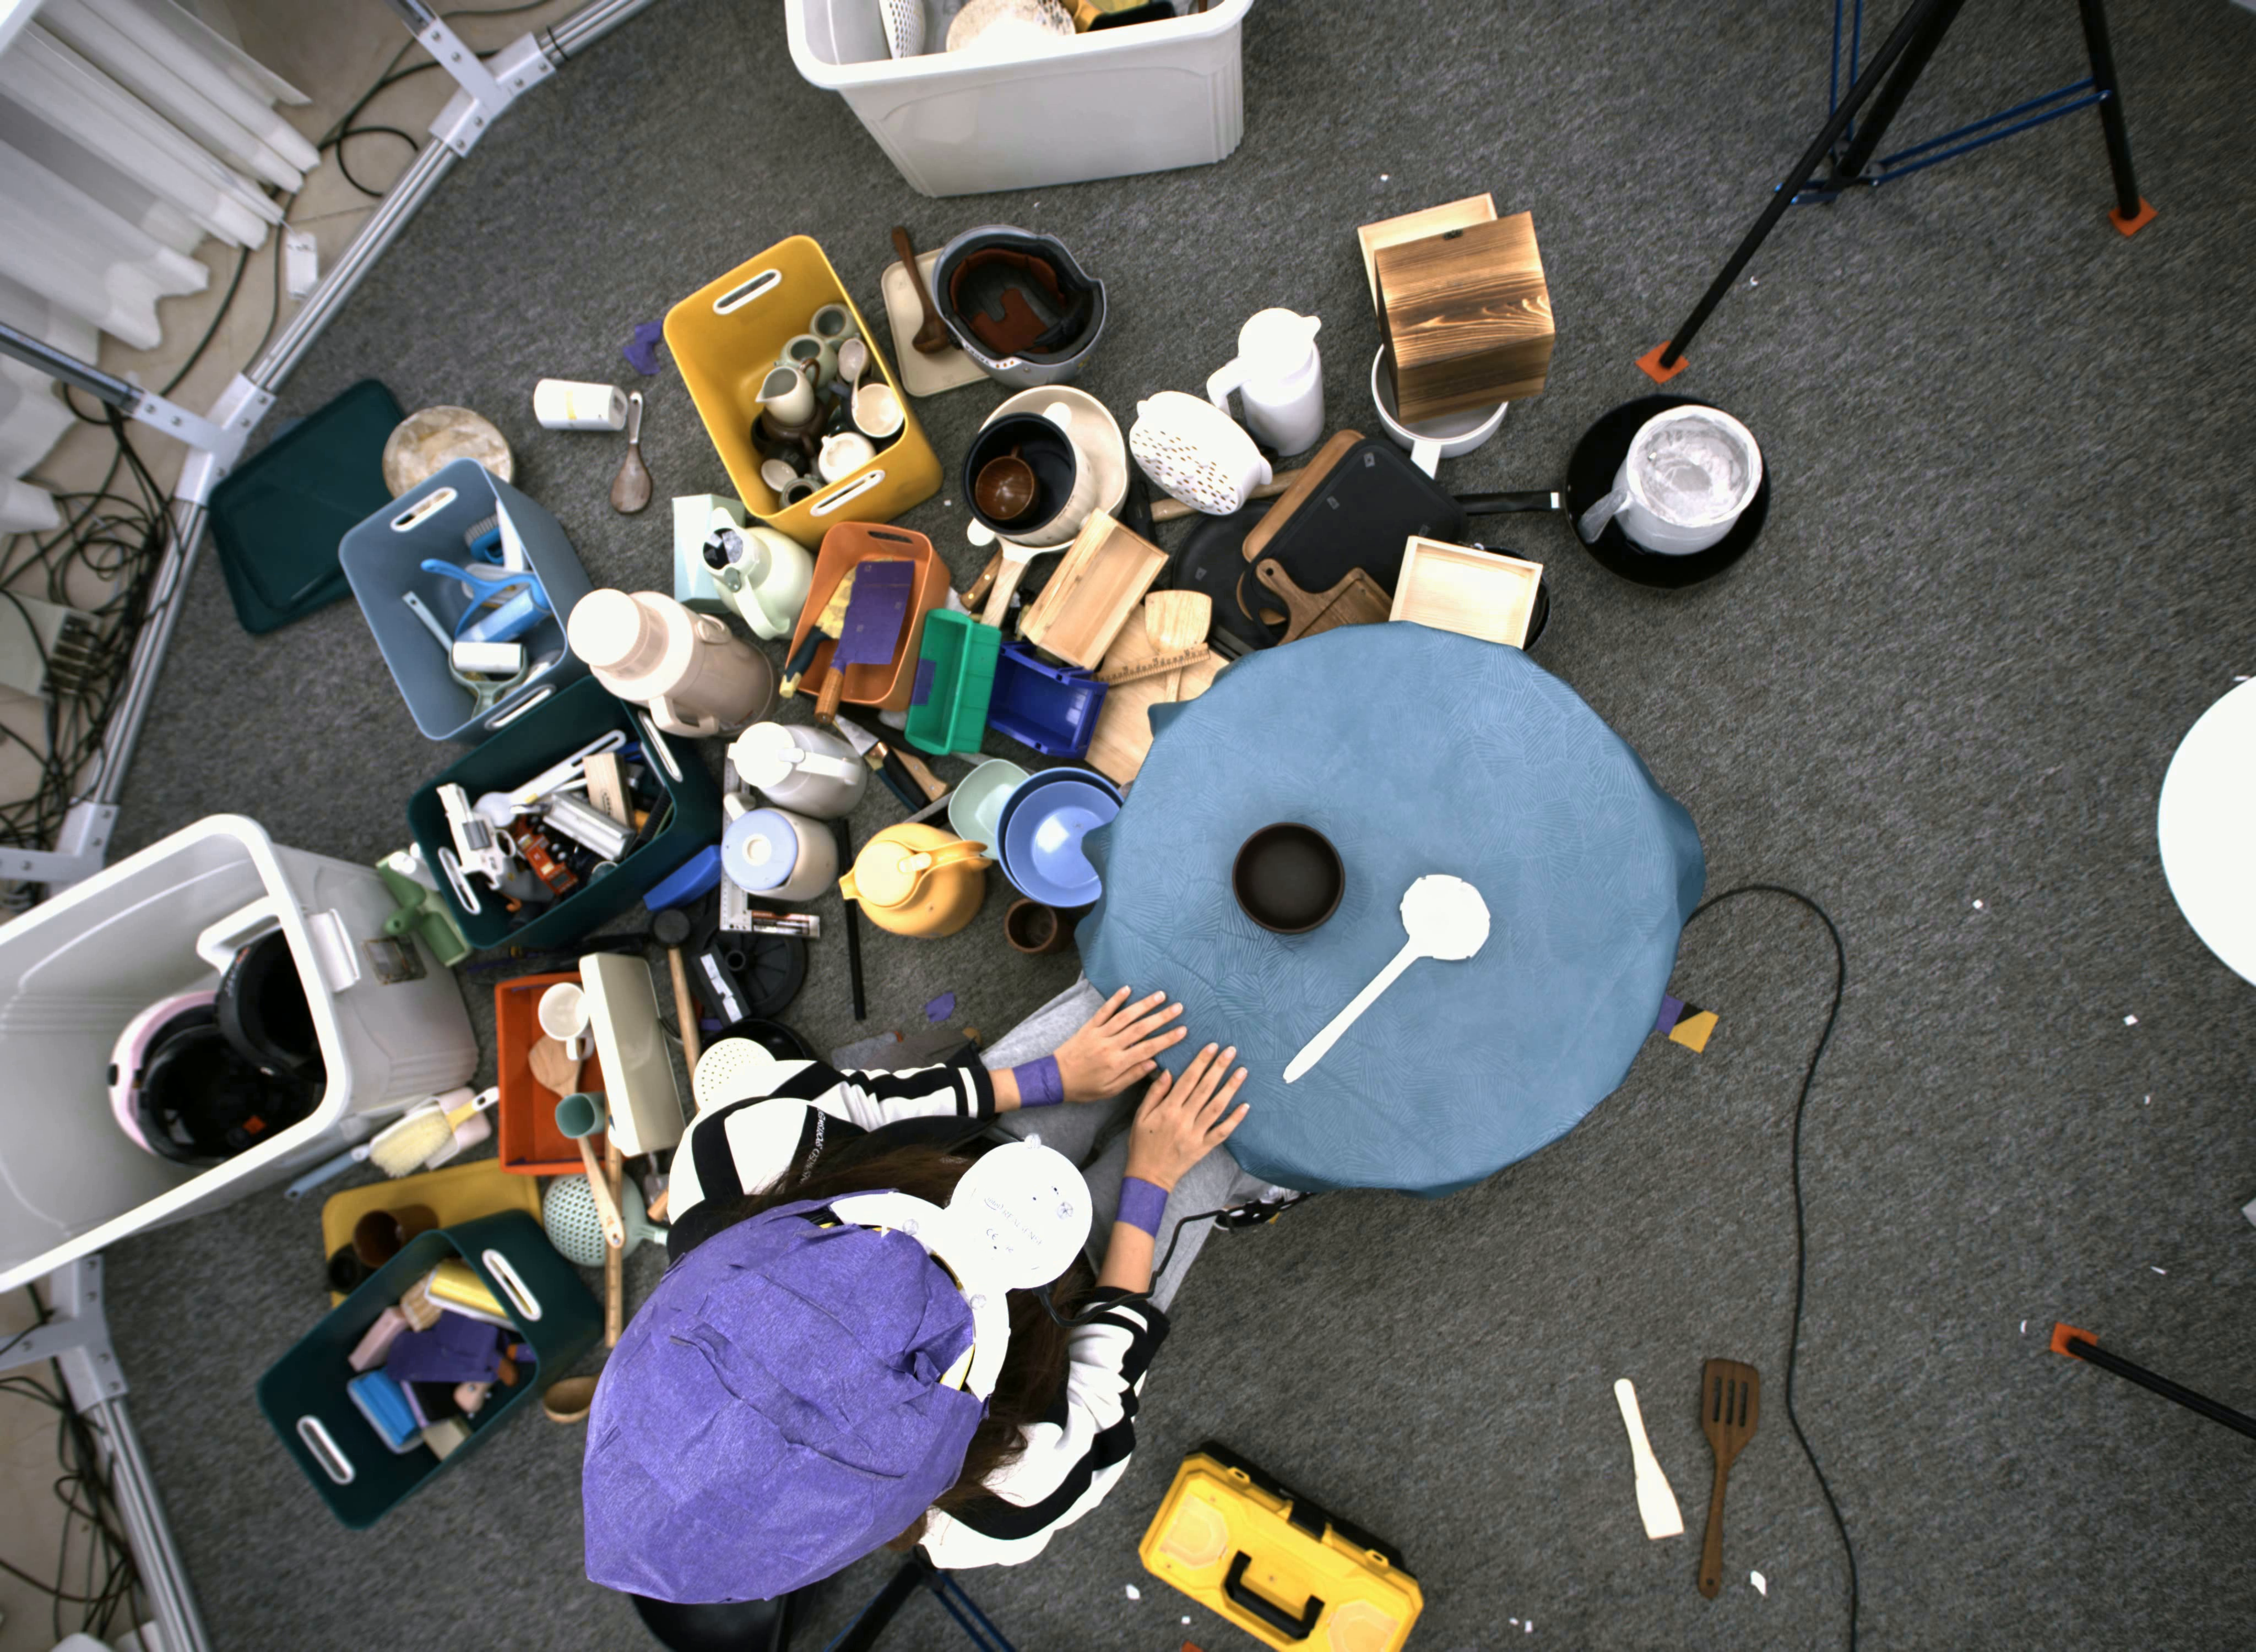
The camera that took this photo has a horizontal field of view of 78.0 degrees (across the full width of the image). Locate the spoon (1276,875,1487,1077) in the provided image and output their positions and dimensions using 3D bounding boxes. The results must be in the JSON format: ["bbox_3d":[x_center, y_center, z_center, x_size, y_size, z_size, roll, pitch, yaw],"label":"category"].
[{"bbox_3d":[0.251,0.159,1.430,0.278,0.059,0.100,-44,77,5],"label":"spoon"}]

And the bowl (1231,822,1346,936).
[{"bbox_3d":[0.168,0.056,1.443,0.118,0.070,0.117,-1,85,10],"label":"bowl"}]
